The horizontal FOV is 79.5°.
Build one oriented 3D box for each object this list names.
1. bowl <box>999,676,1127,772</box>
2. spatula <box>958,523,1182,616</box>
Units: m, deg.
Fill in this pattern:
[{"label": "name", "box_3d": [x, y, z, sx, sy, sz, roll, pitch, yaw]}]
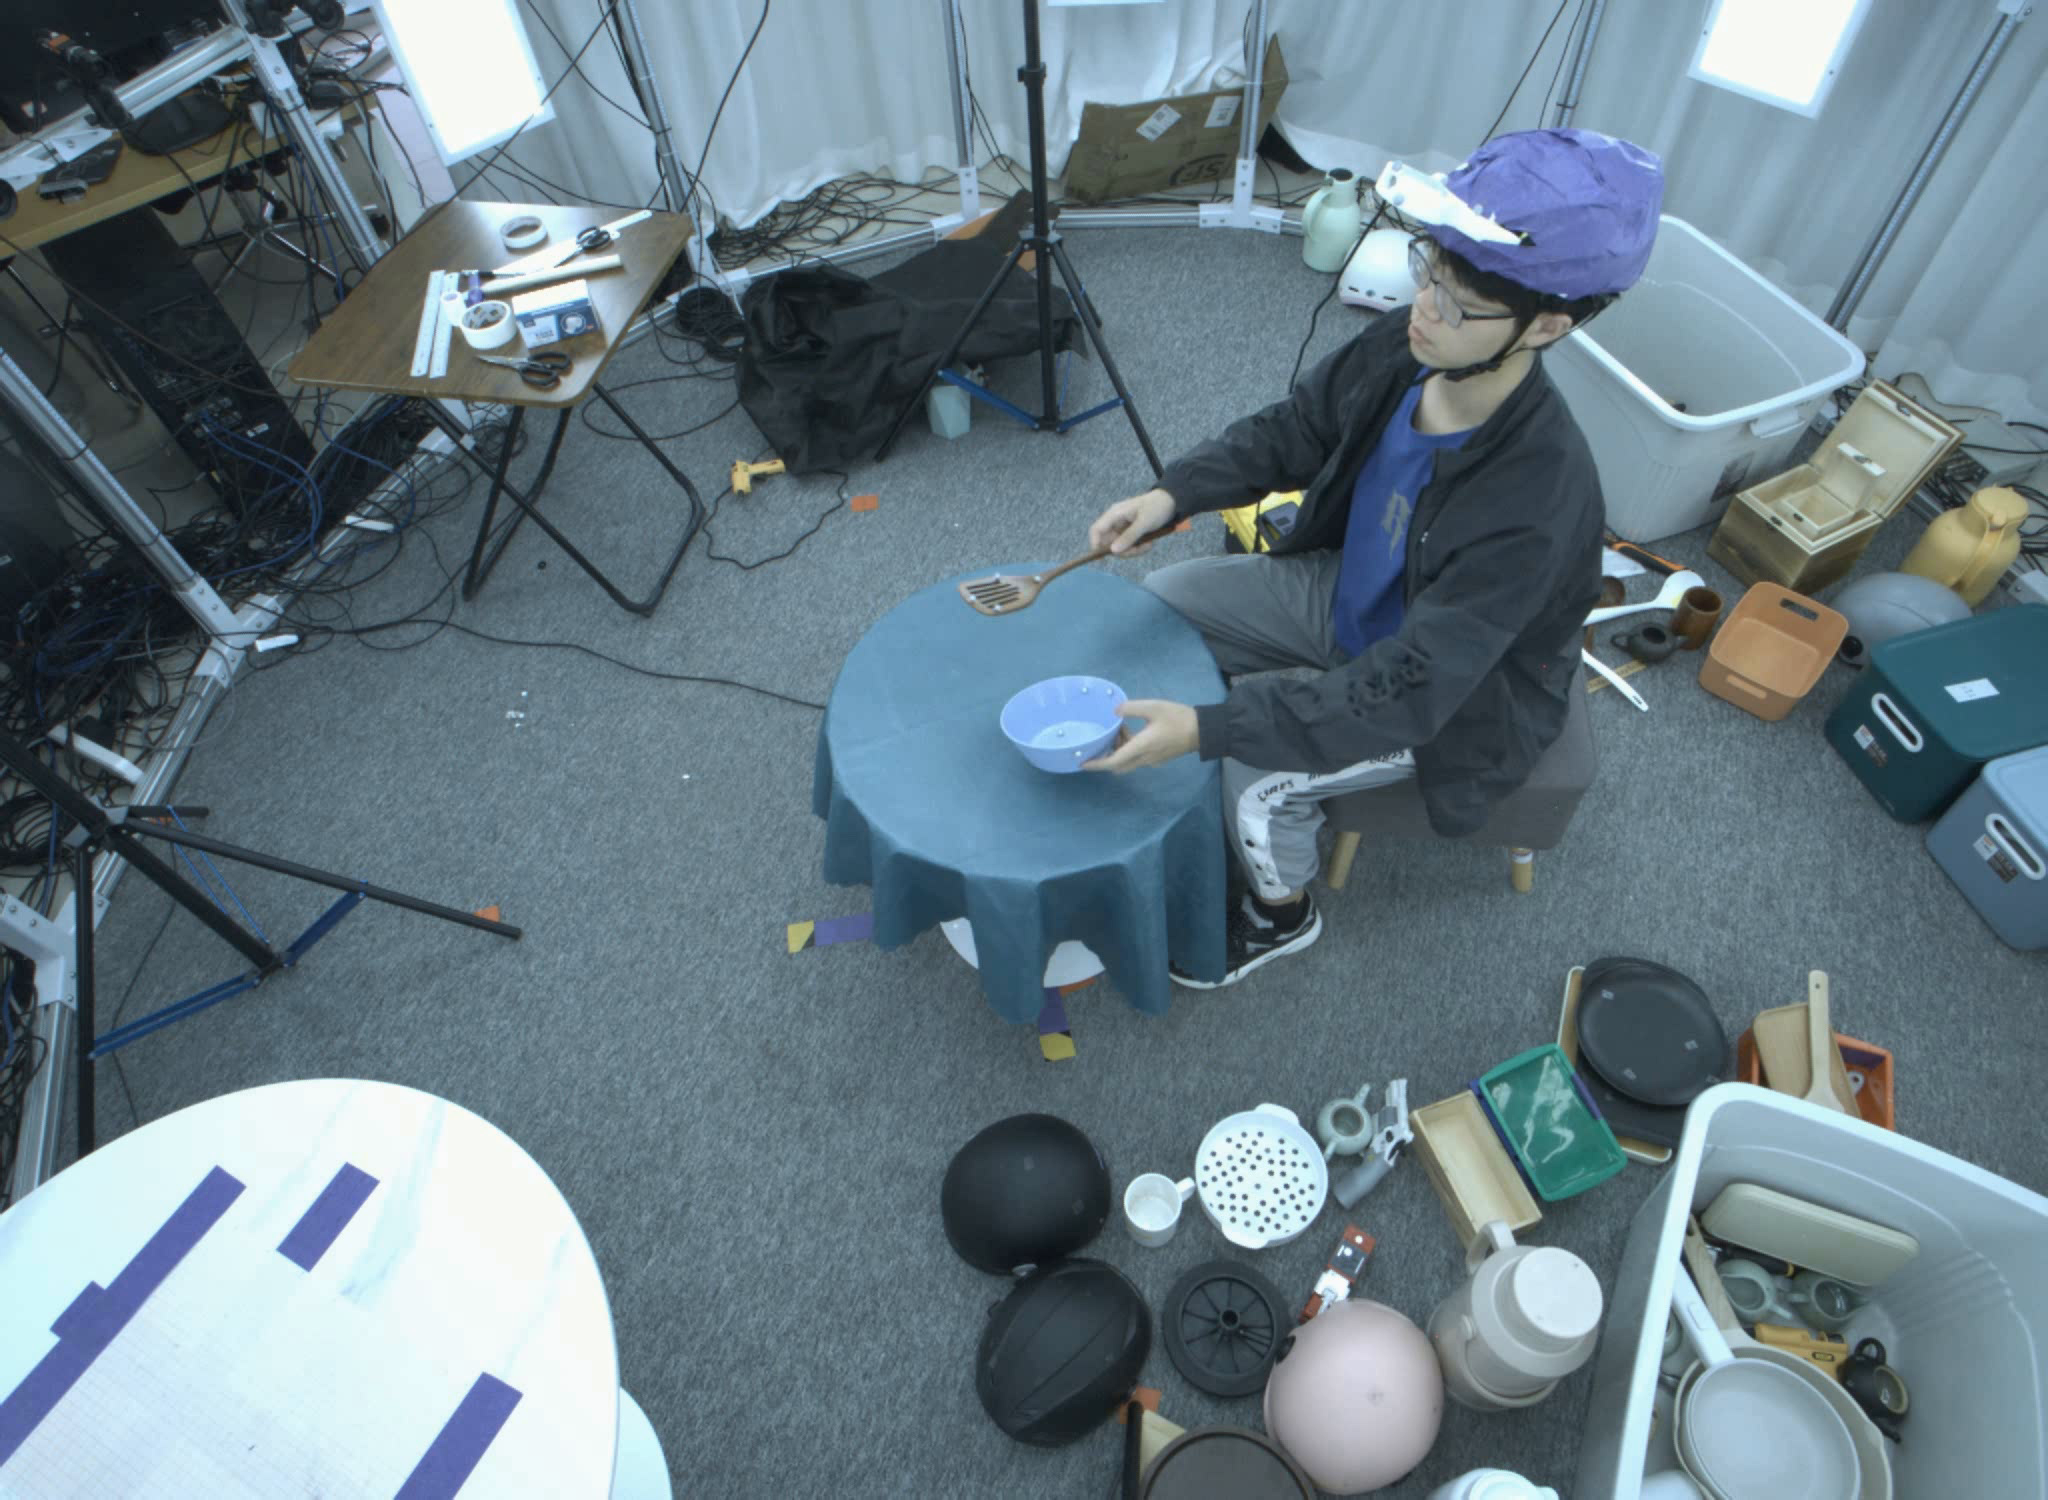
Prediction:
[{"label": "bowl", "box_3d": [0.057, -0.029, 1.690, 0.175, 0.071, 0.174, -6, 35, 5]}, {"label": "spatula", "box_3d": [0.078, -0.267, 1.766, 0.392, 0.024, 0.084, -25, 54, -28]}]
